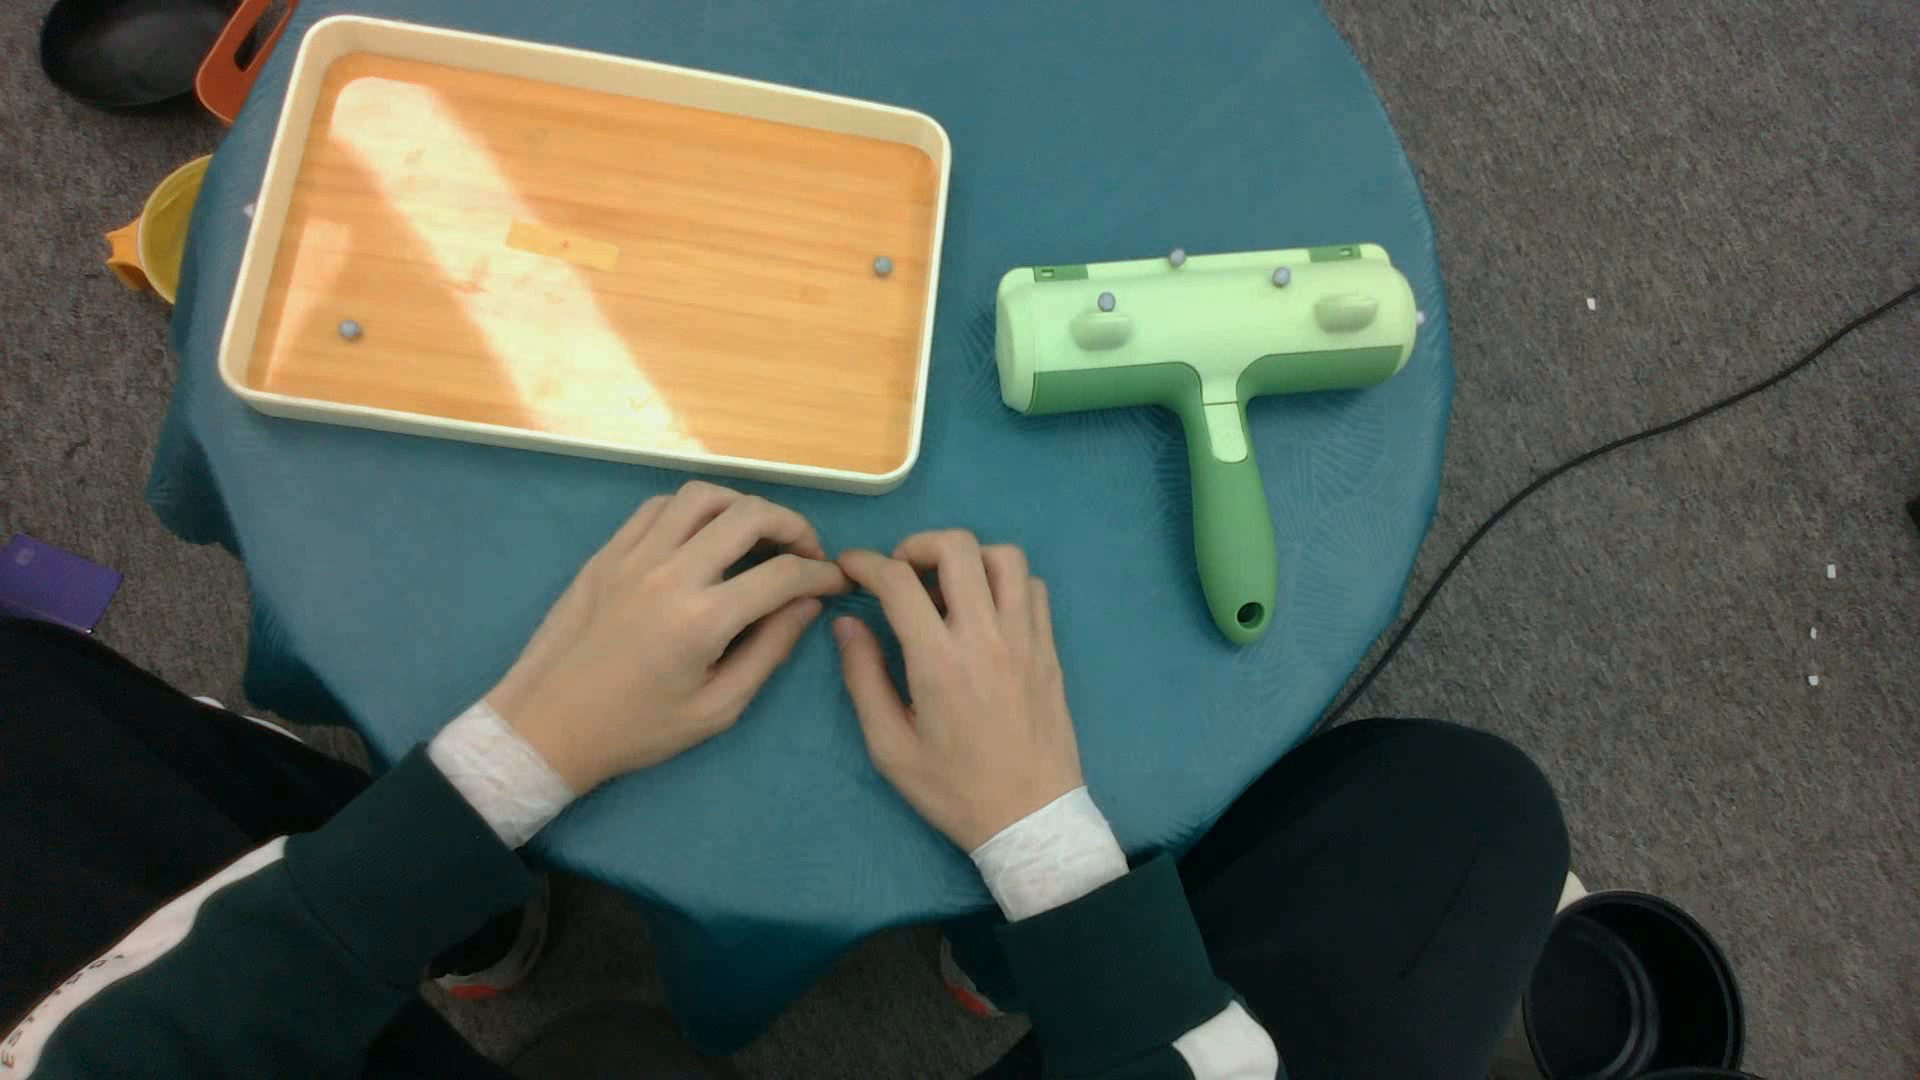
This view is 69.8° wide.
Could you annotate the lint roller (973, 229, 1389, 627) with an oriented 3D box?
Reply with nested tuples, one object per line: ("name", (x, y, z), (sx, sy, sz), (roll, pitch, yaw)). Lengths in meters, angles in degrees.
("lint roller", (0.115, -0.056, 0.633), (0.199, 0.082, 0.184), (-6, 72, -11))

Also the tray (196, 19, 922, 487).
("tray", (-0.172, -0.131, 0.633), (0.300, 0.027, 0.192), (6, 74, -8))
